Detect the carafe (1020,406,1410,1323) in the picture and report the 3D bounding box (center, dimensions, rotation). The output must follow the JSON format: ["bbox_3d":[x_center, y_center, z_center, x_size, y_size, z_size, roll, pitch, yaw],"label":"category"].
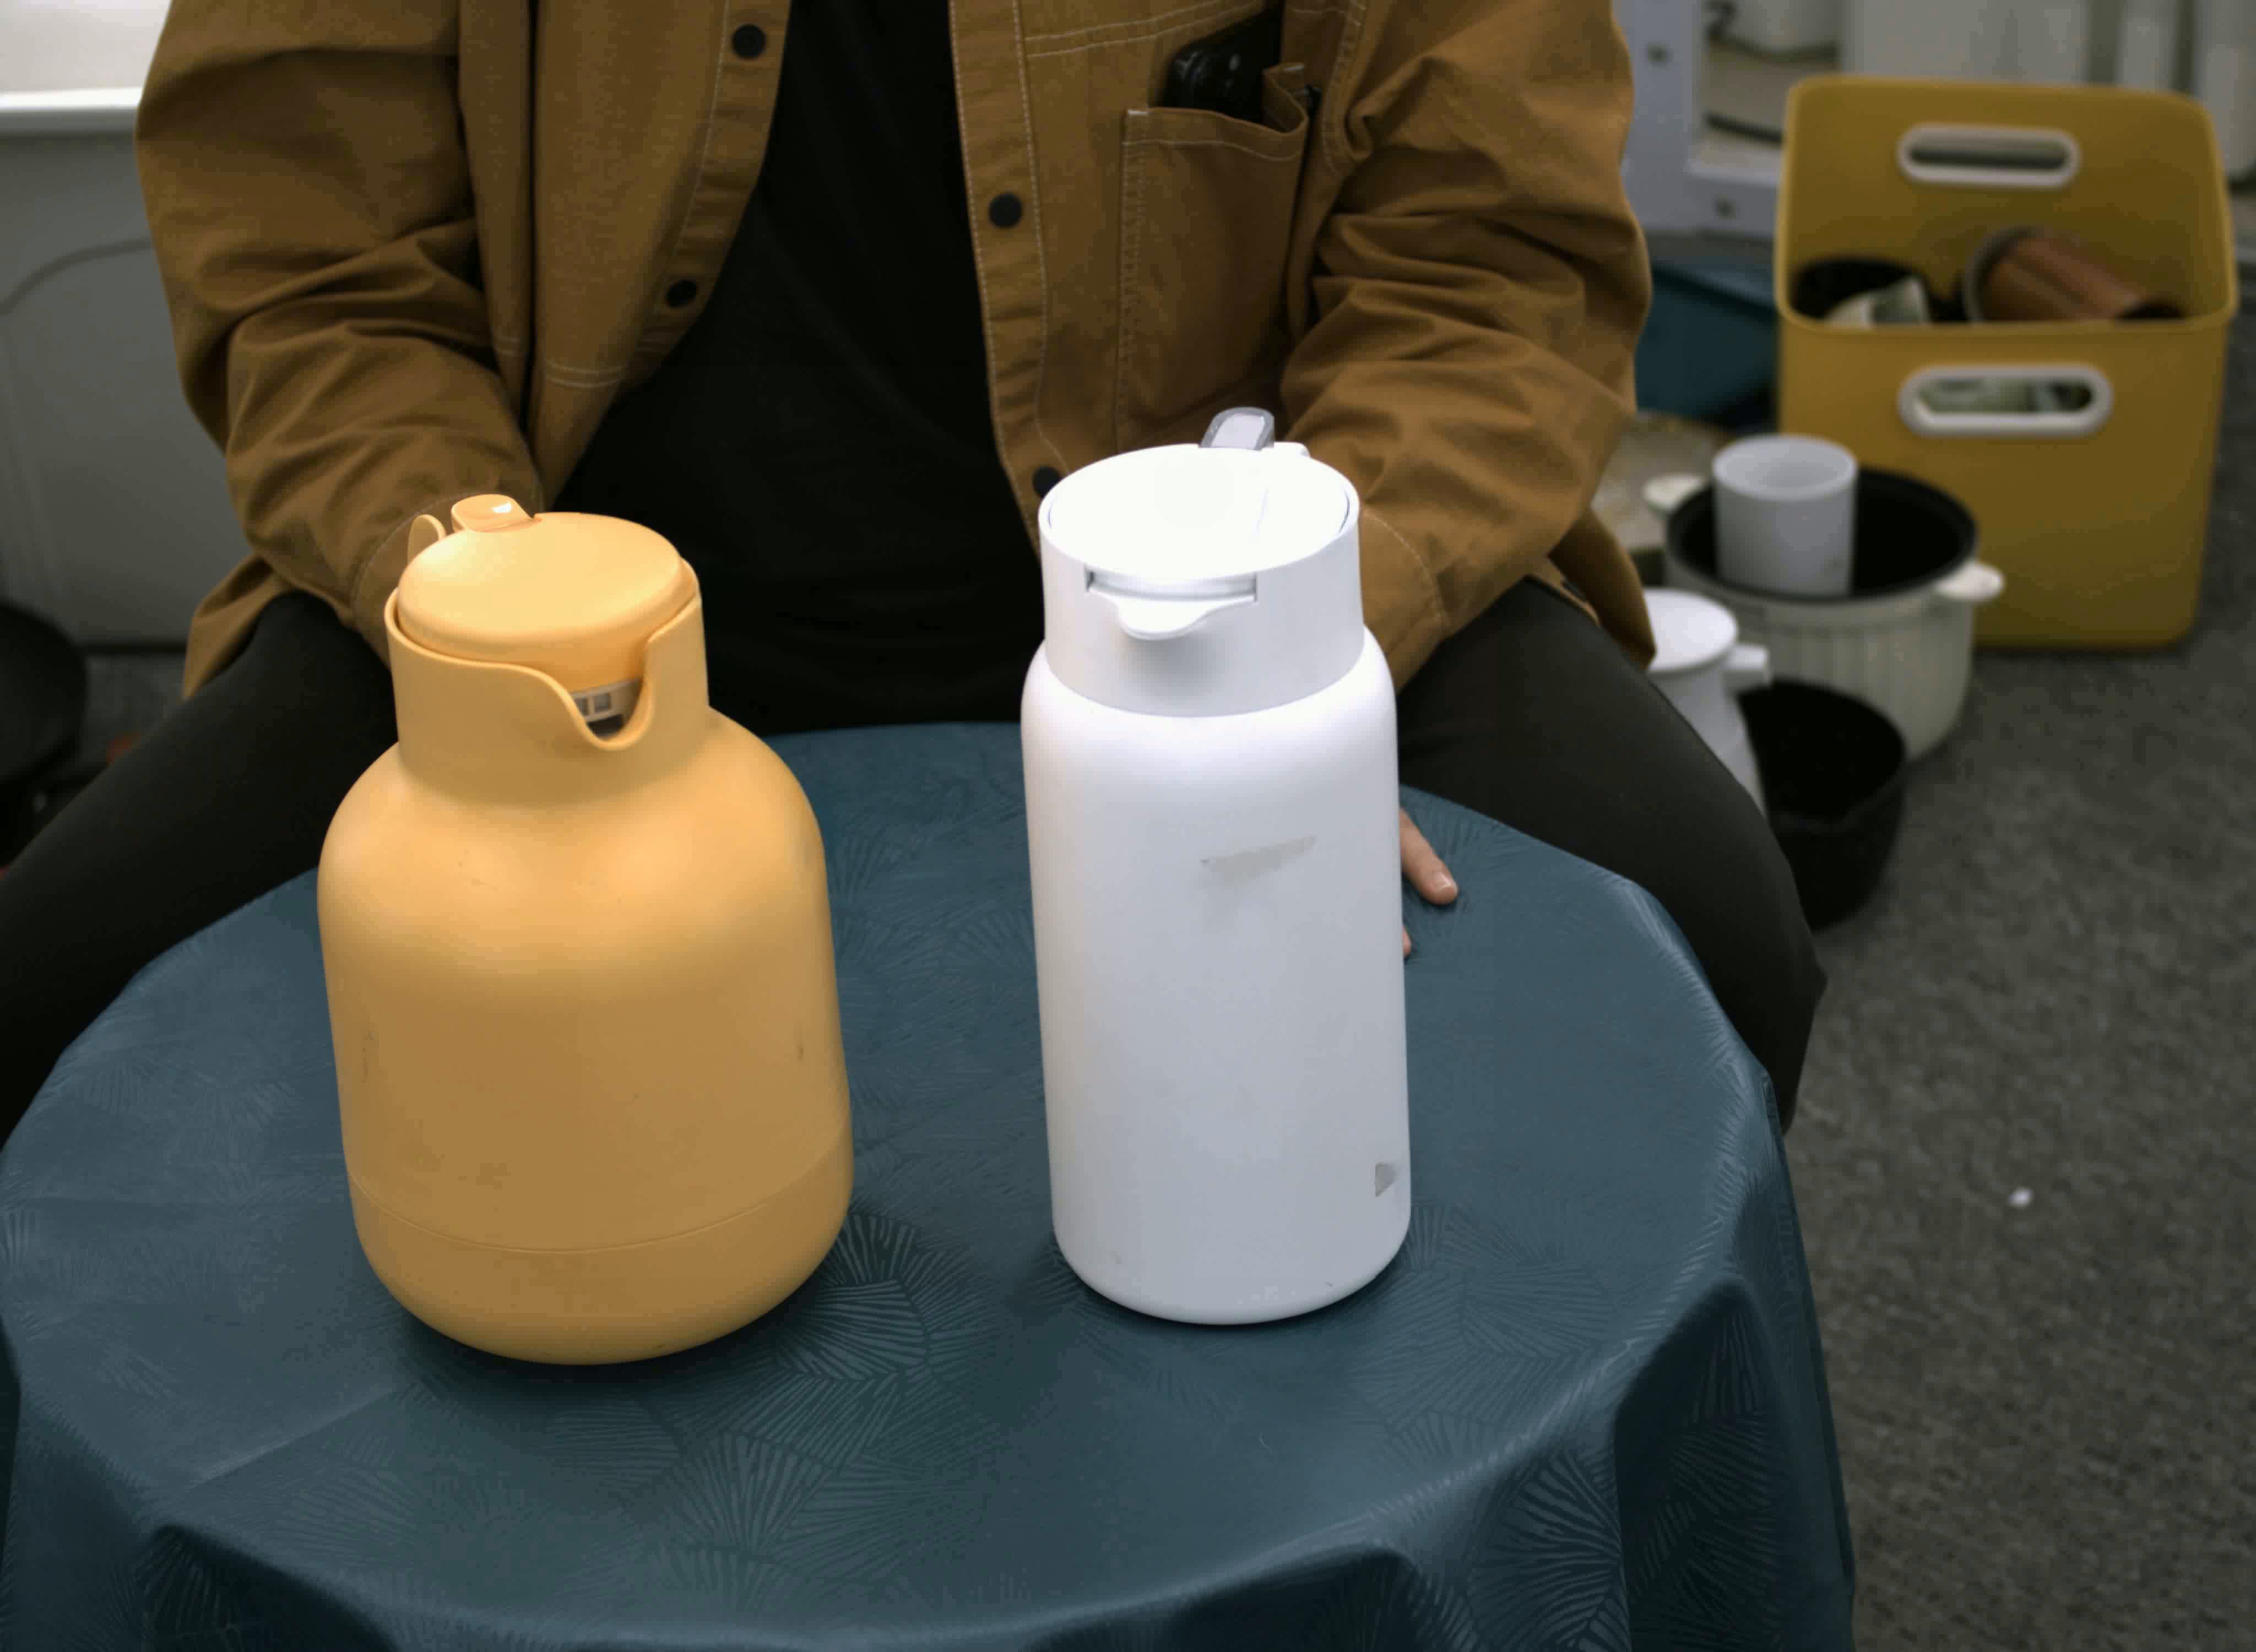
[{"bbox_3d":[0.030,0.009,1.787,0.123,0.266,0.176,1,26,13],"label":"carafe"}]

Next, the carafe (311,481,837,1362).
[{"bbox_3d":[-0.182,0.020,1.789,0.164,0.257,0.204,-9,28,-19],"label":"carafe"}]
